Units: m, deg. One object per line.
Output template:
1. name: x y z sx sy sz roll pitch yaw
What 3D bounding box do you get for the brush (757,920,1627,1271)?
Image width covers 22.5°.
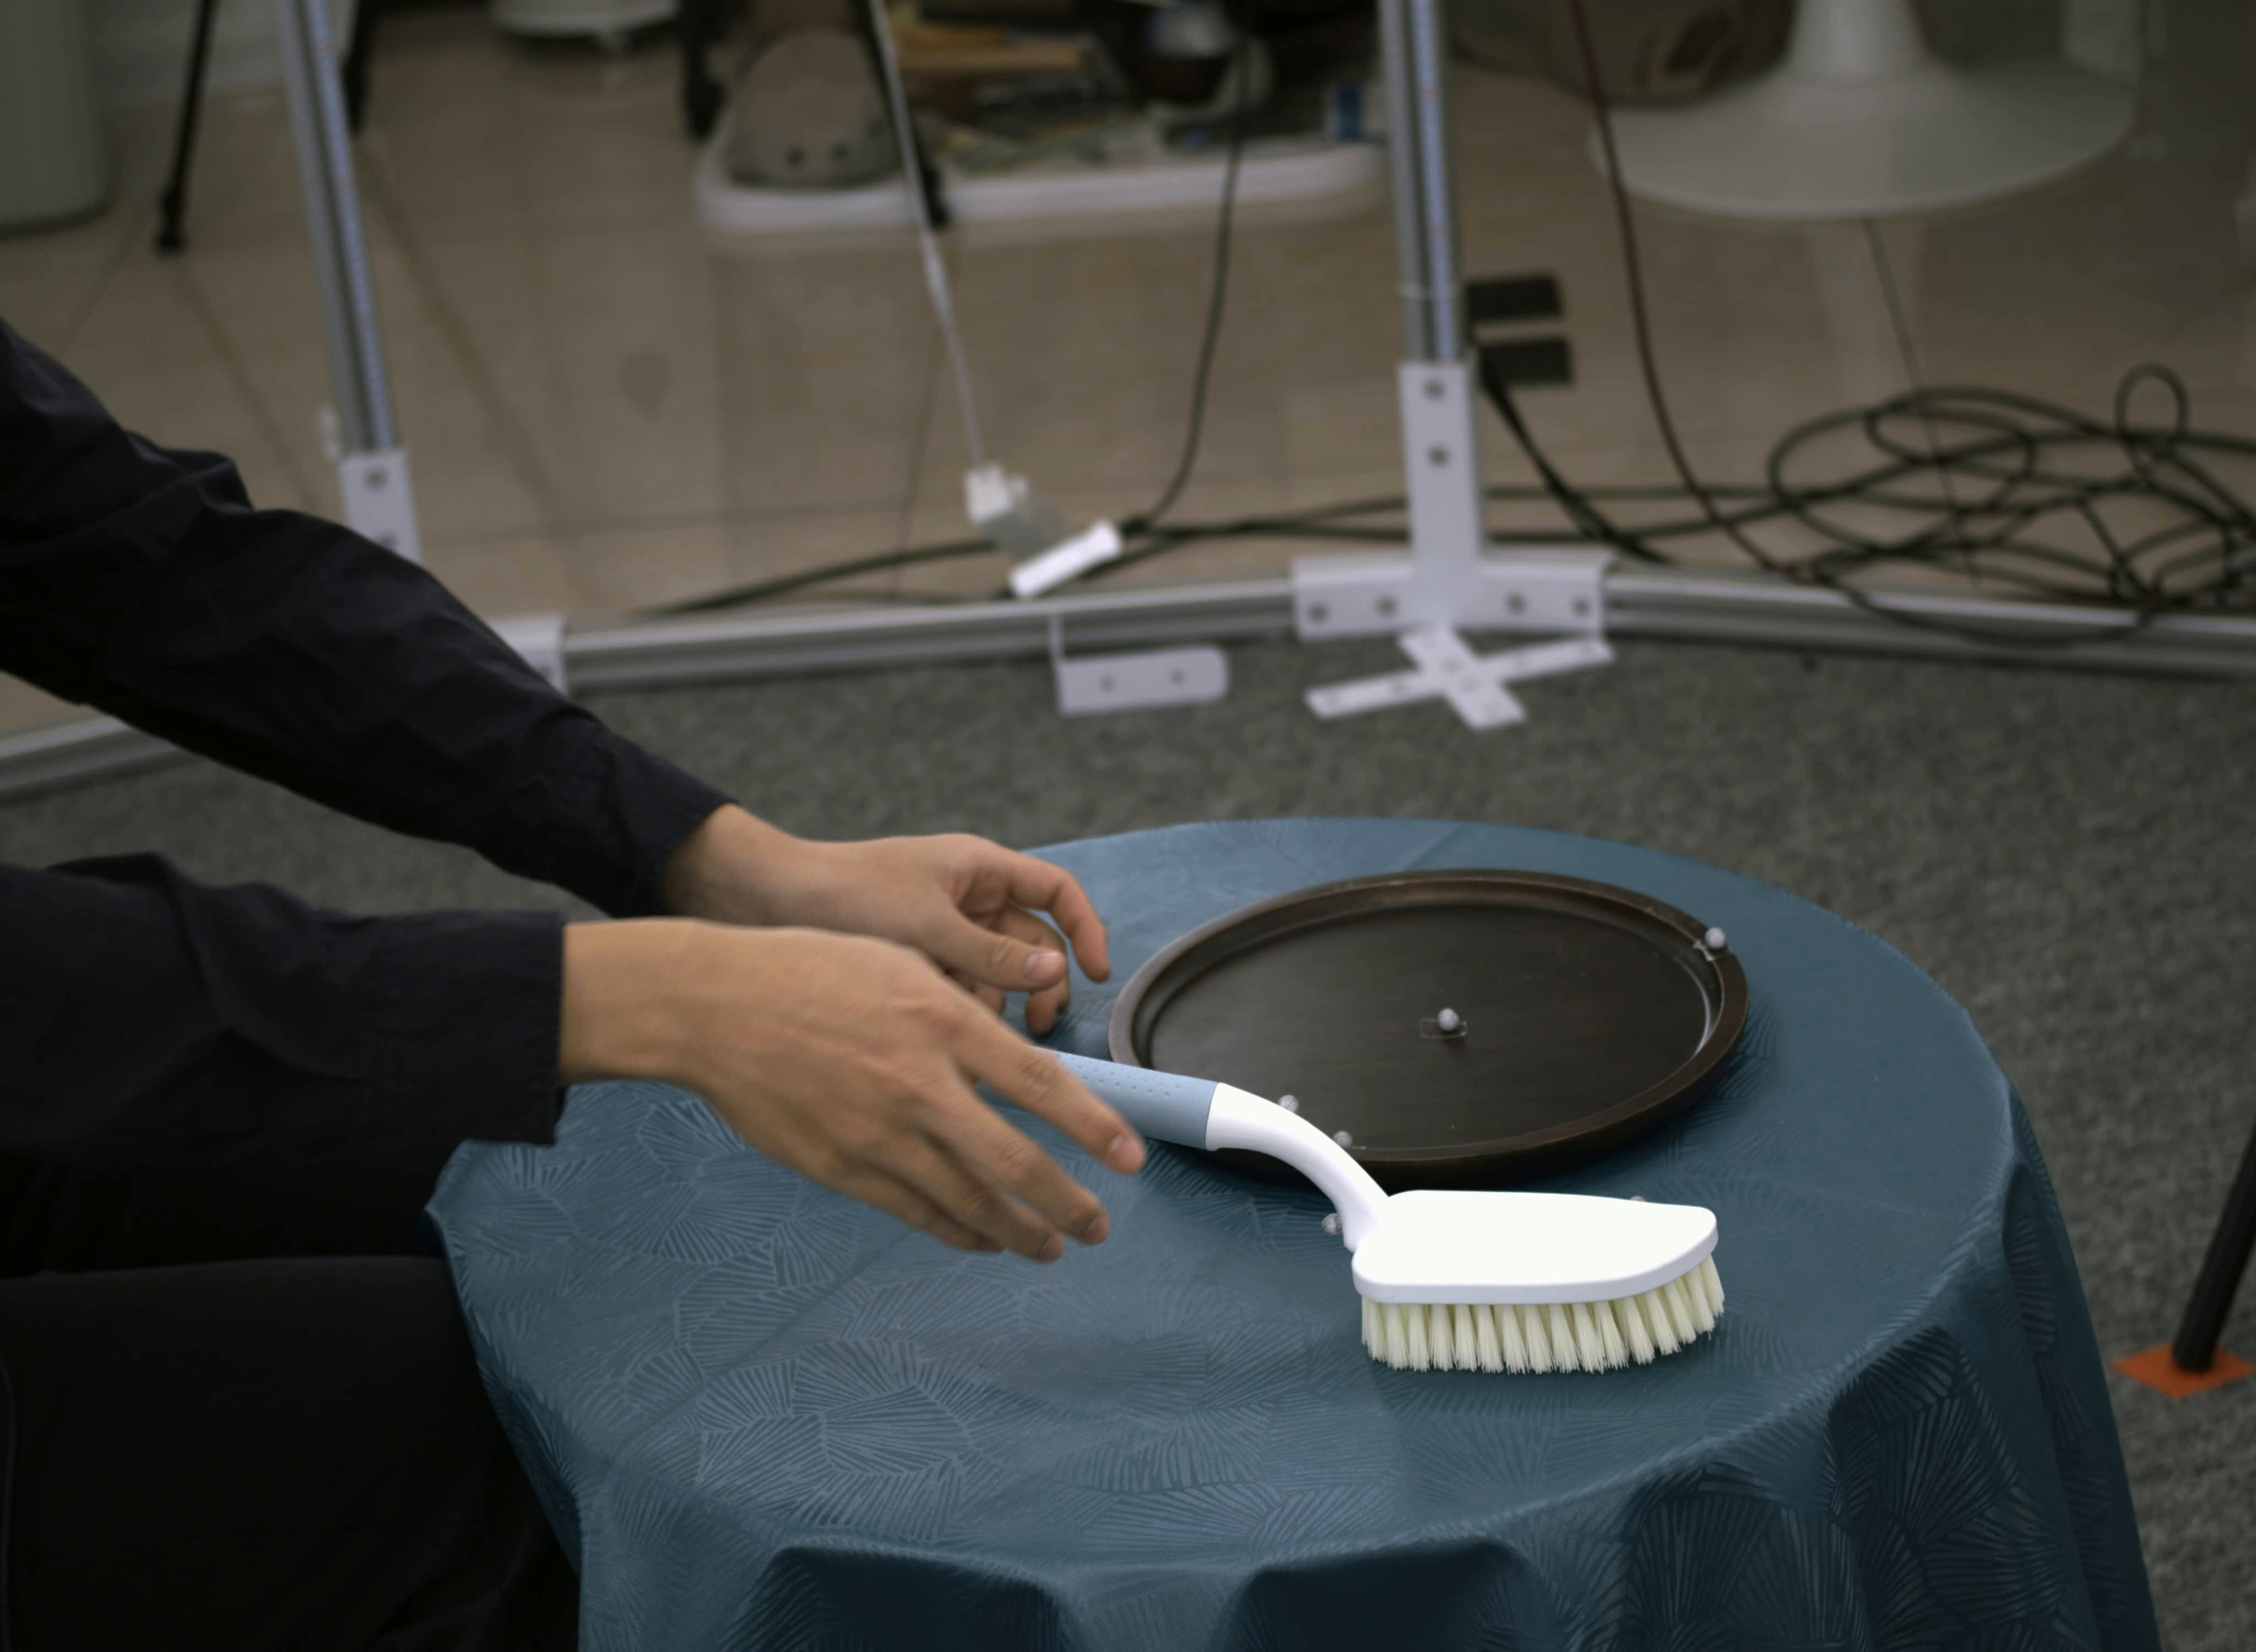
1. brush: 0.020 0.108 2.058 0.324 0.084 0.083 12 -8 8

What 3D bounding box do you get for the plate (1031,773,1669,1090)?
1. plate: 0.088 0.040 2.253 0.254 0.029 0.251 -4 27 2
